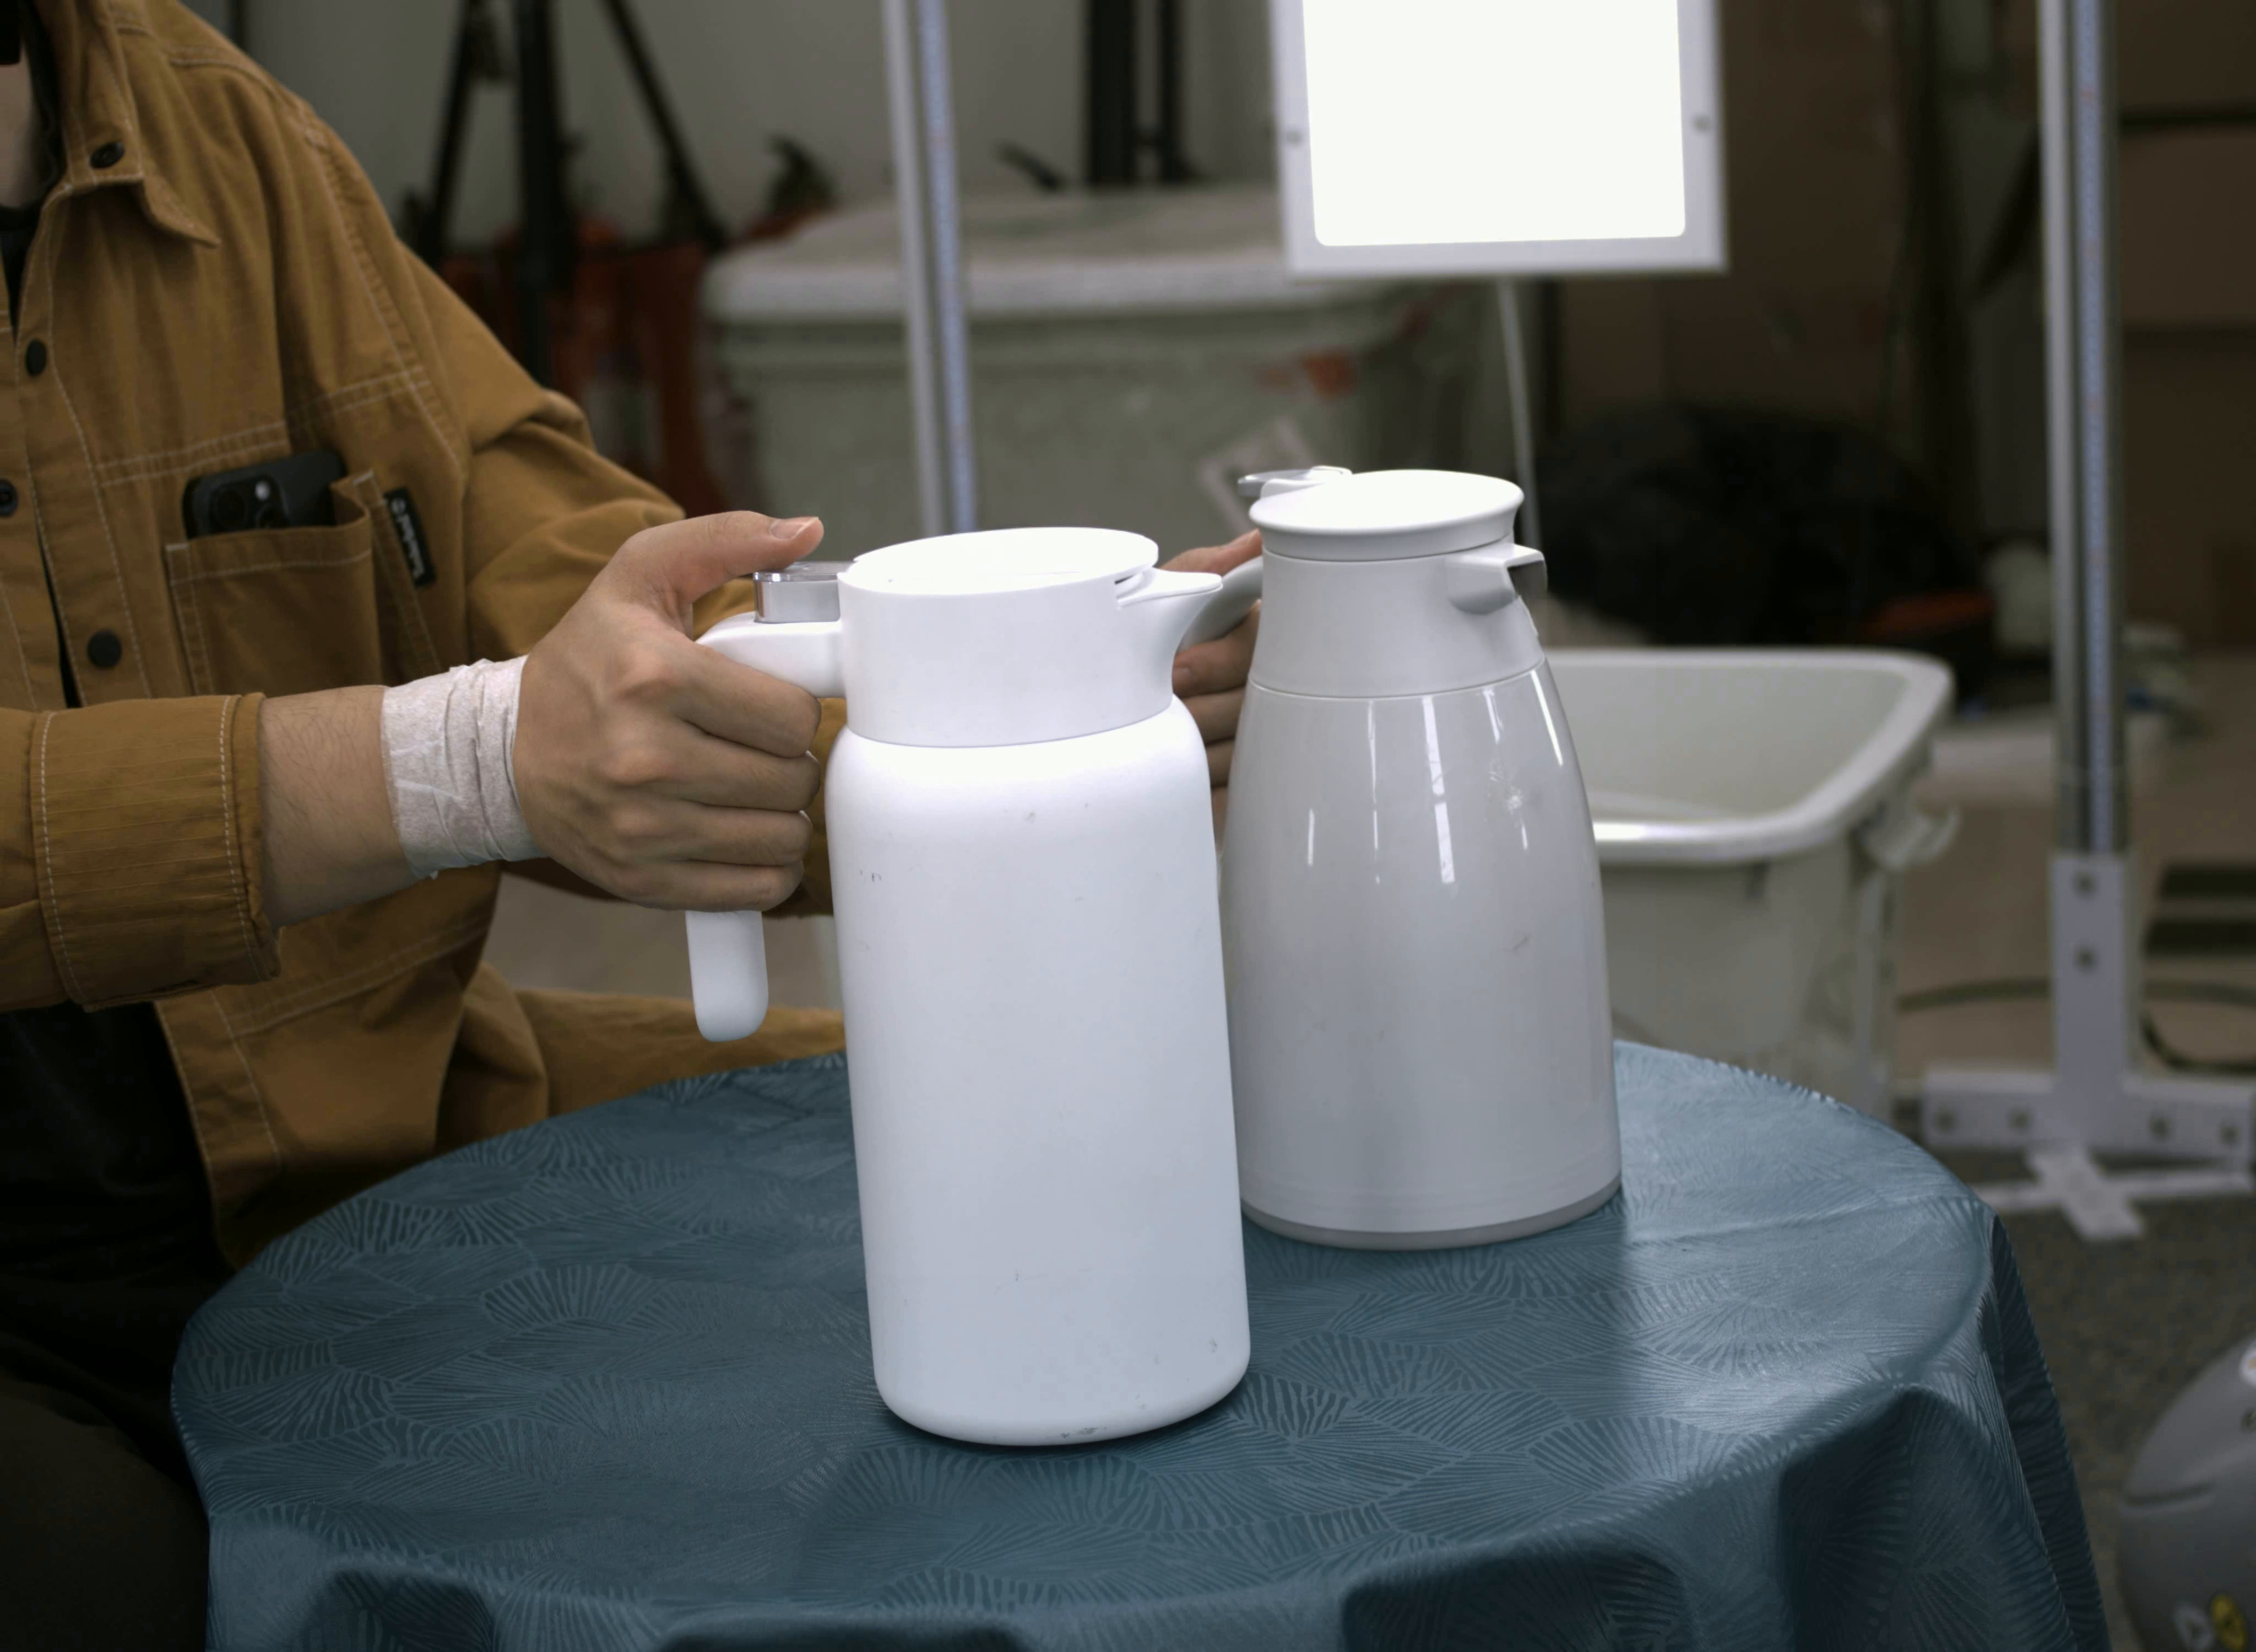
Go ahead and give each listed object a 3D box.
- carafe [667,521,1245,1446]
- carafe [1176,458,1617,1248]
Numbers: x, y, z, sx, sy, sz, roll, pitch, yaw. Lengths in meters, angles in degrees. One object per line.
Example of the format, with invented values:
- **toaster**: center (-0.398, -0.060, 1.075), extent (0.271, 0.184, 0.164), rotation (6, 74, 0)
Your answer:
- **carafe**: center (-0.047, 0.047, 1.677), extent (0.174, 0.270, 0.122), rotation (-2, 16, 12)
- **carafe**: center (0.079, 0.001, 1.855), extent (0.129, 0.249, 0.171), rotation (-17, 18, -40)
